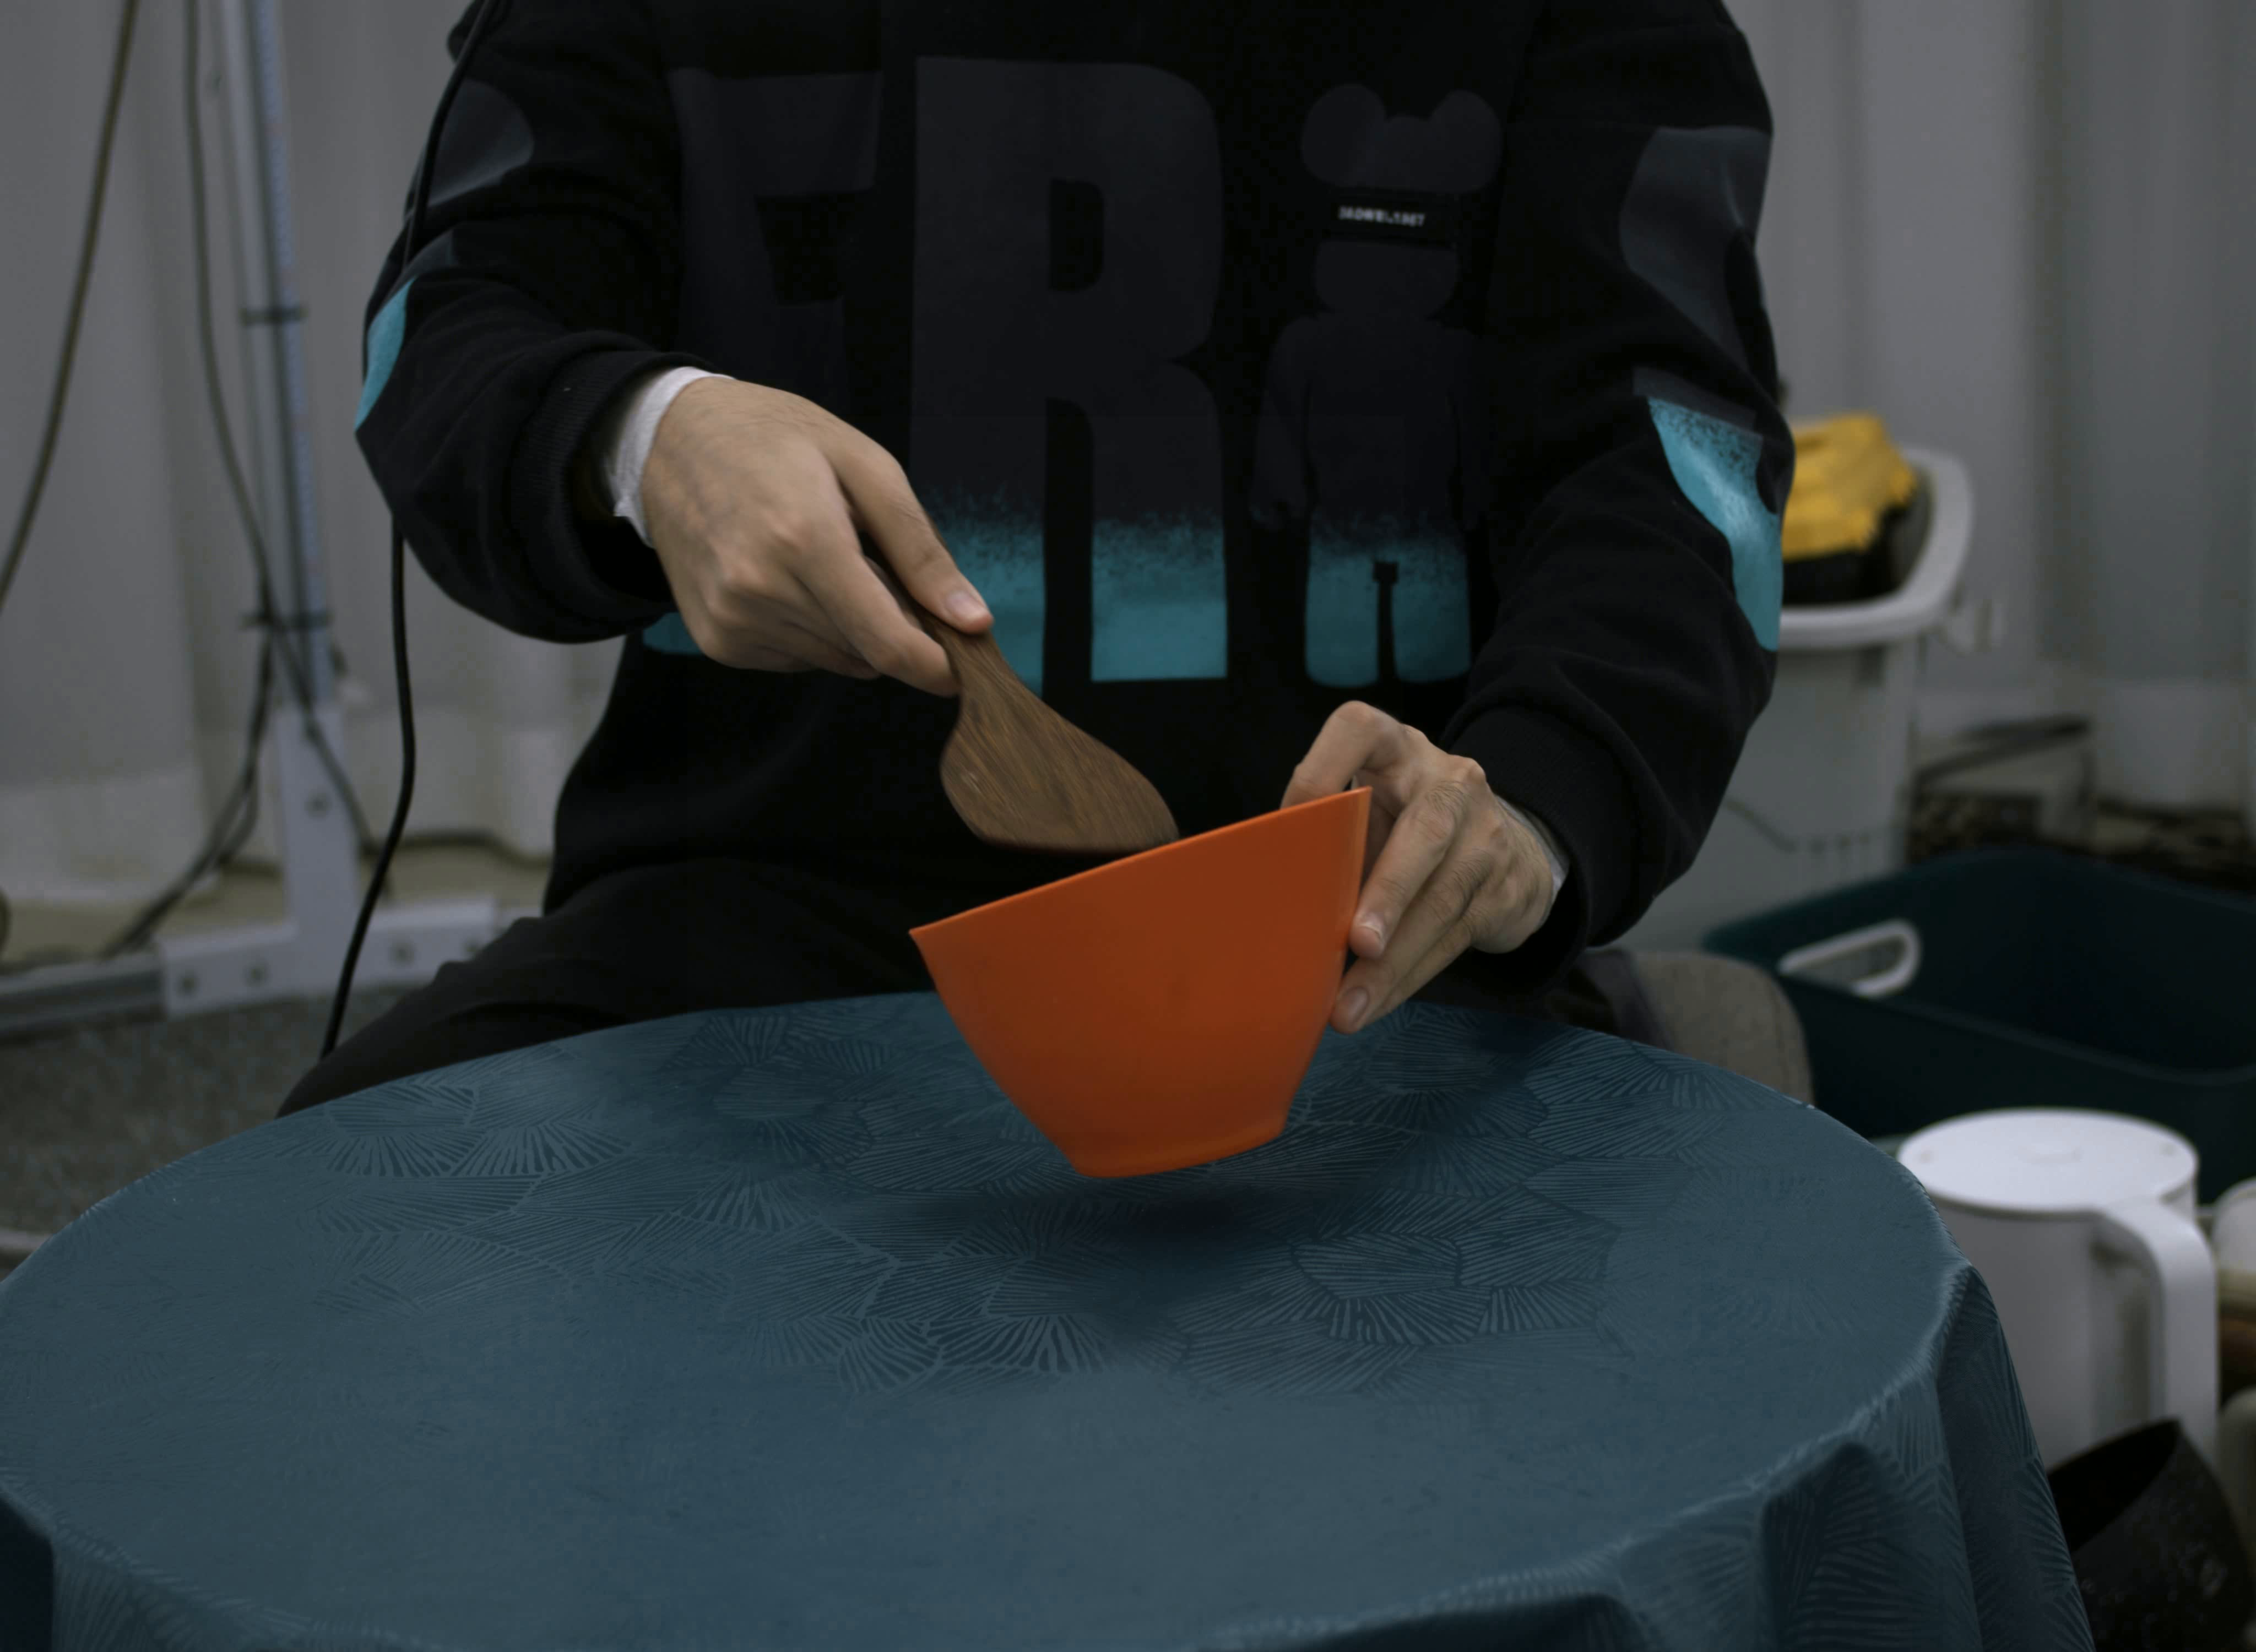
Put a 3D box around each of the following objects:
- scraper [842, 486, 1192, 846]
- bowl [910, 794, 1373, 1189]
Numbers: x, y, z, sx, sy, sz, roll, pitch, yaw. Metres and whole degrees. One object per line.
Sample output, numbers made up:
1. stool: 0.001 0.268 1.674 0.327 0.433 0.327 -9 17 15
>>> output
1. scraper: -0.047 -0.052 1.727 0.075 0.011 0.214 2 33 -25
2. bowl: 0.012 0.052 1.666 0.147 0.104 0.148 -13 6 1
